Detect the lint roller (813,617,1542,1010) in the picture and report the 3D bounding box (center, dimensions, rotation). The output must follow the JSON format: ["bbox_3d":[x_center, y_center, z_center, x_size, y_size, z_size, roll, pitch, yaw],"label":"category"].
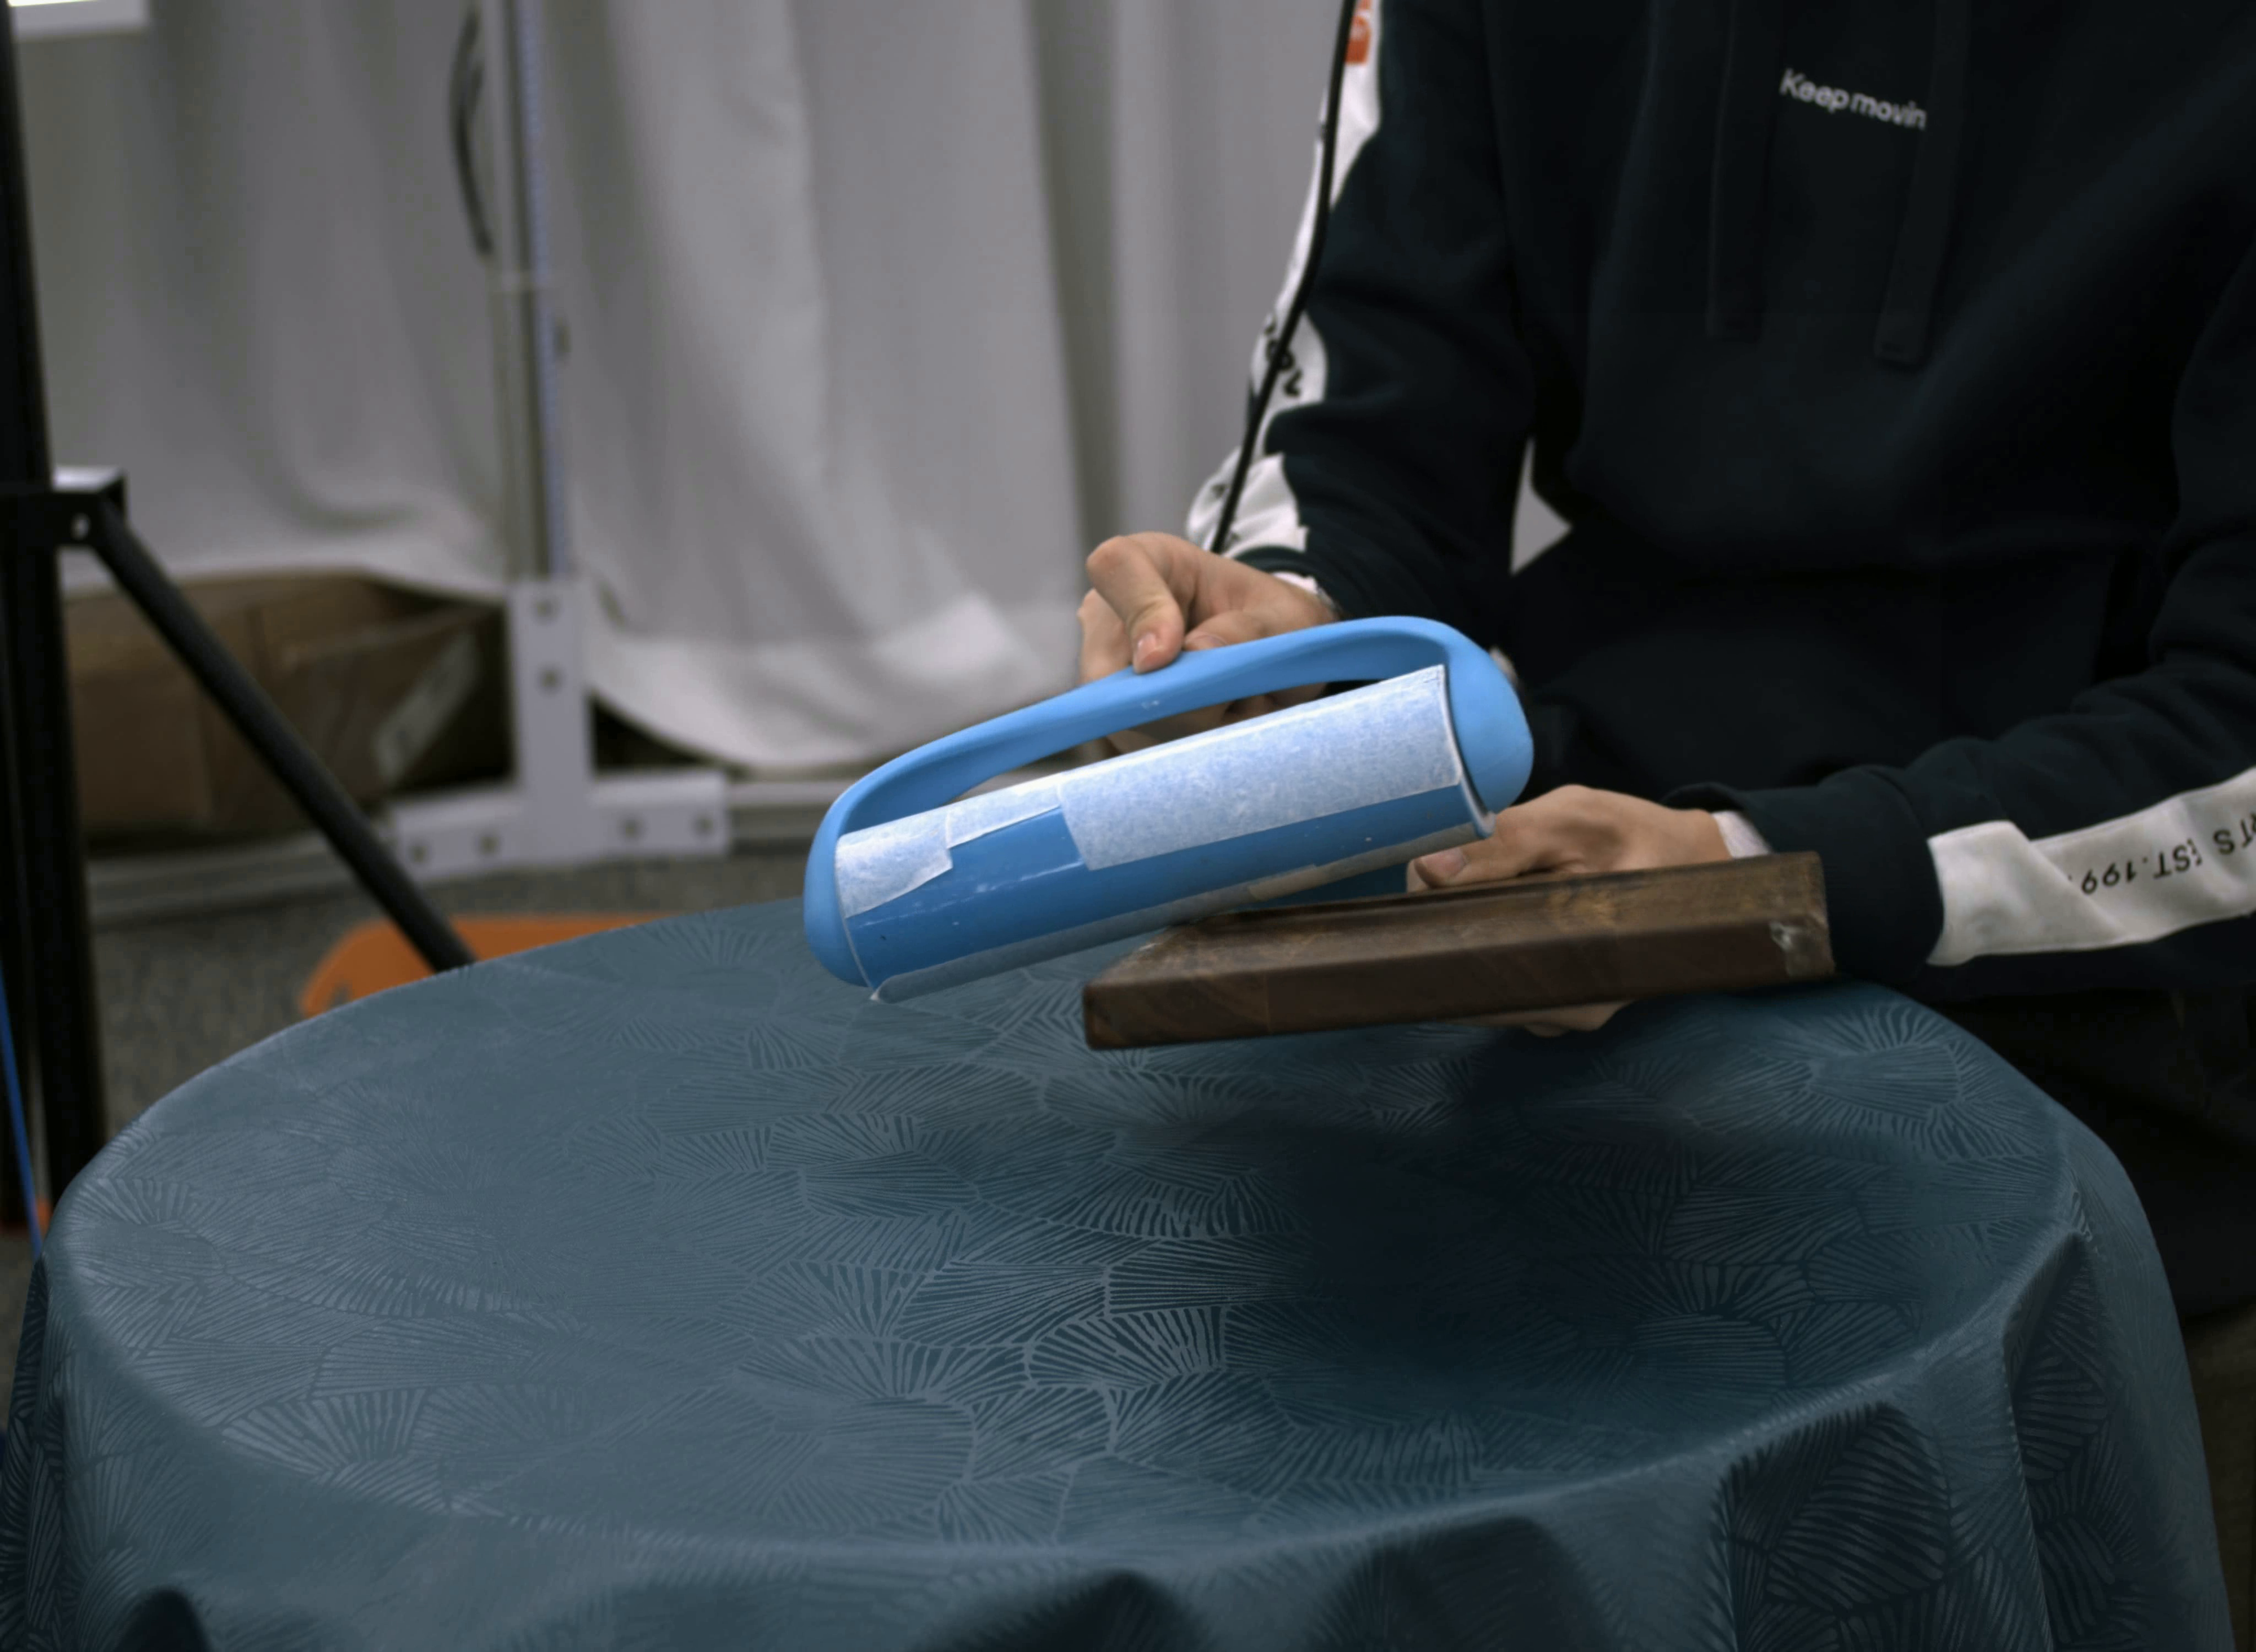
[{"bbox_3d":[0.016,-0.020,1.643,0.230,0.067,0.181,-19,20,12],"label":"lint roller"}]

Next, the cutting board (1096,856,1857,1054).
[{"bbox_3d":[0.105,0.032,1.531,0.201,0.023,0.350,-5,3,7],"label":"cutting board"}]
